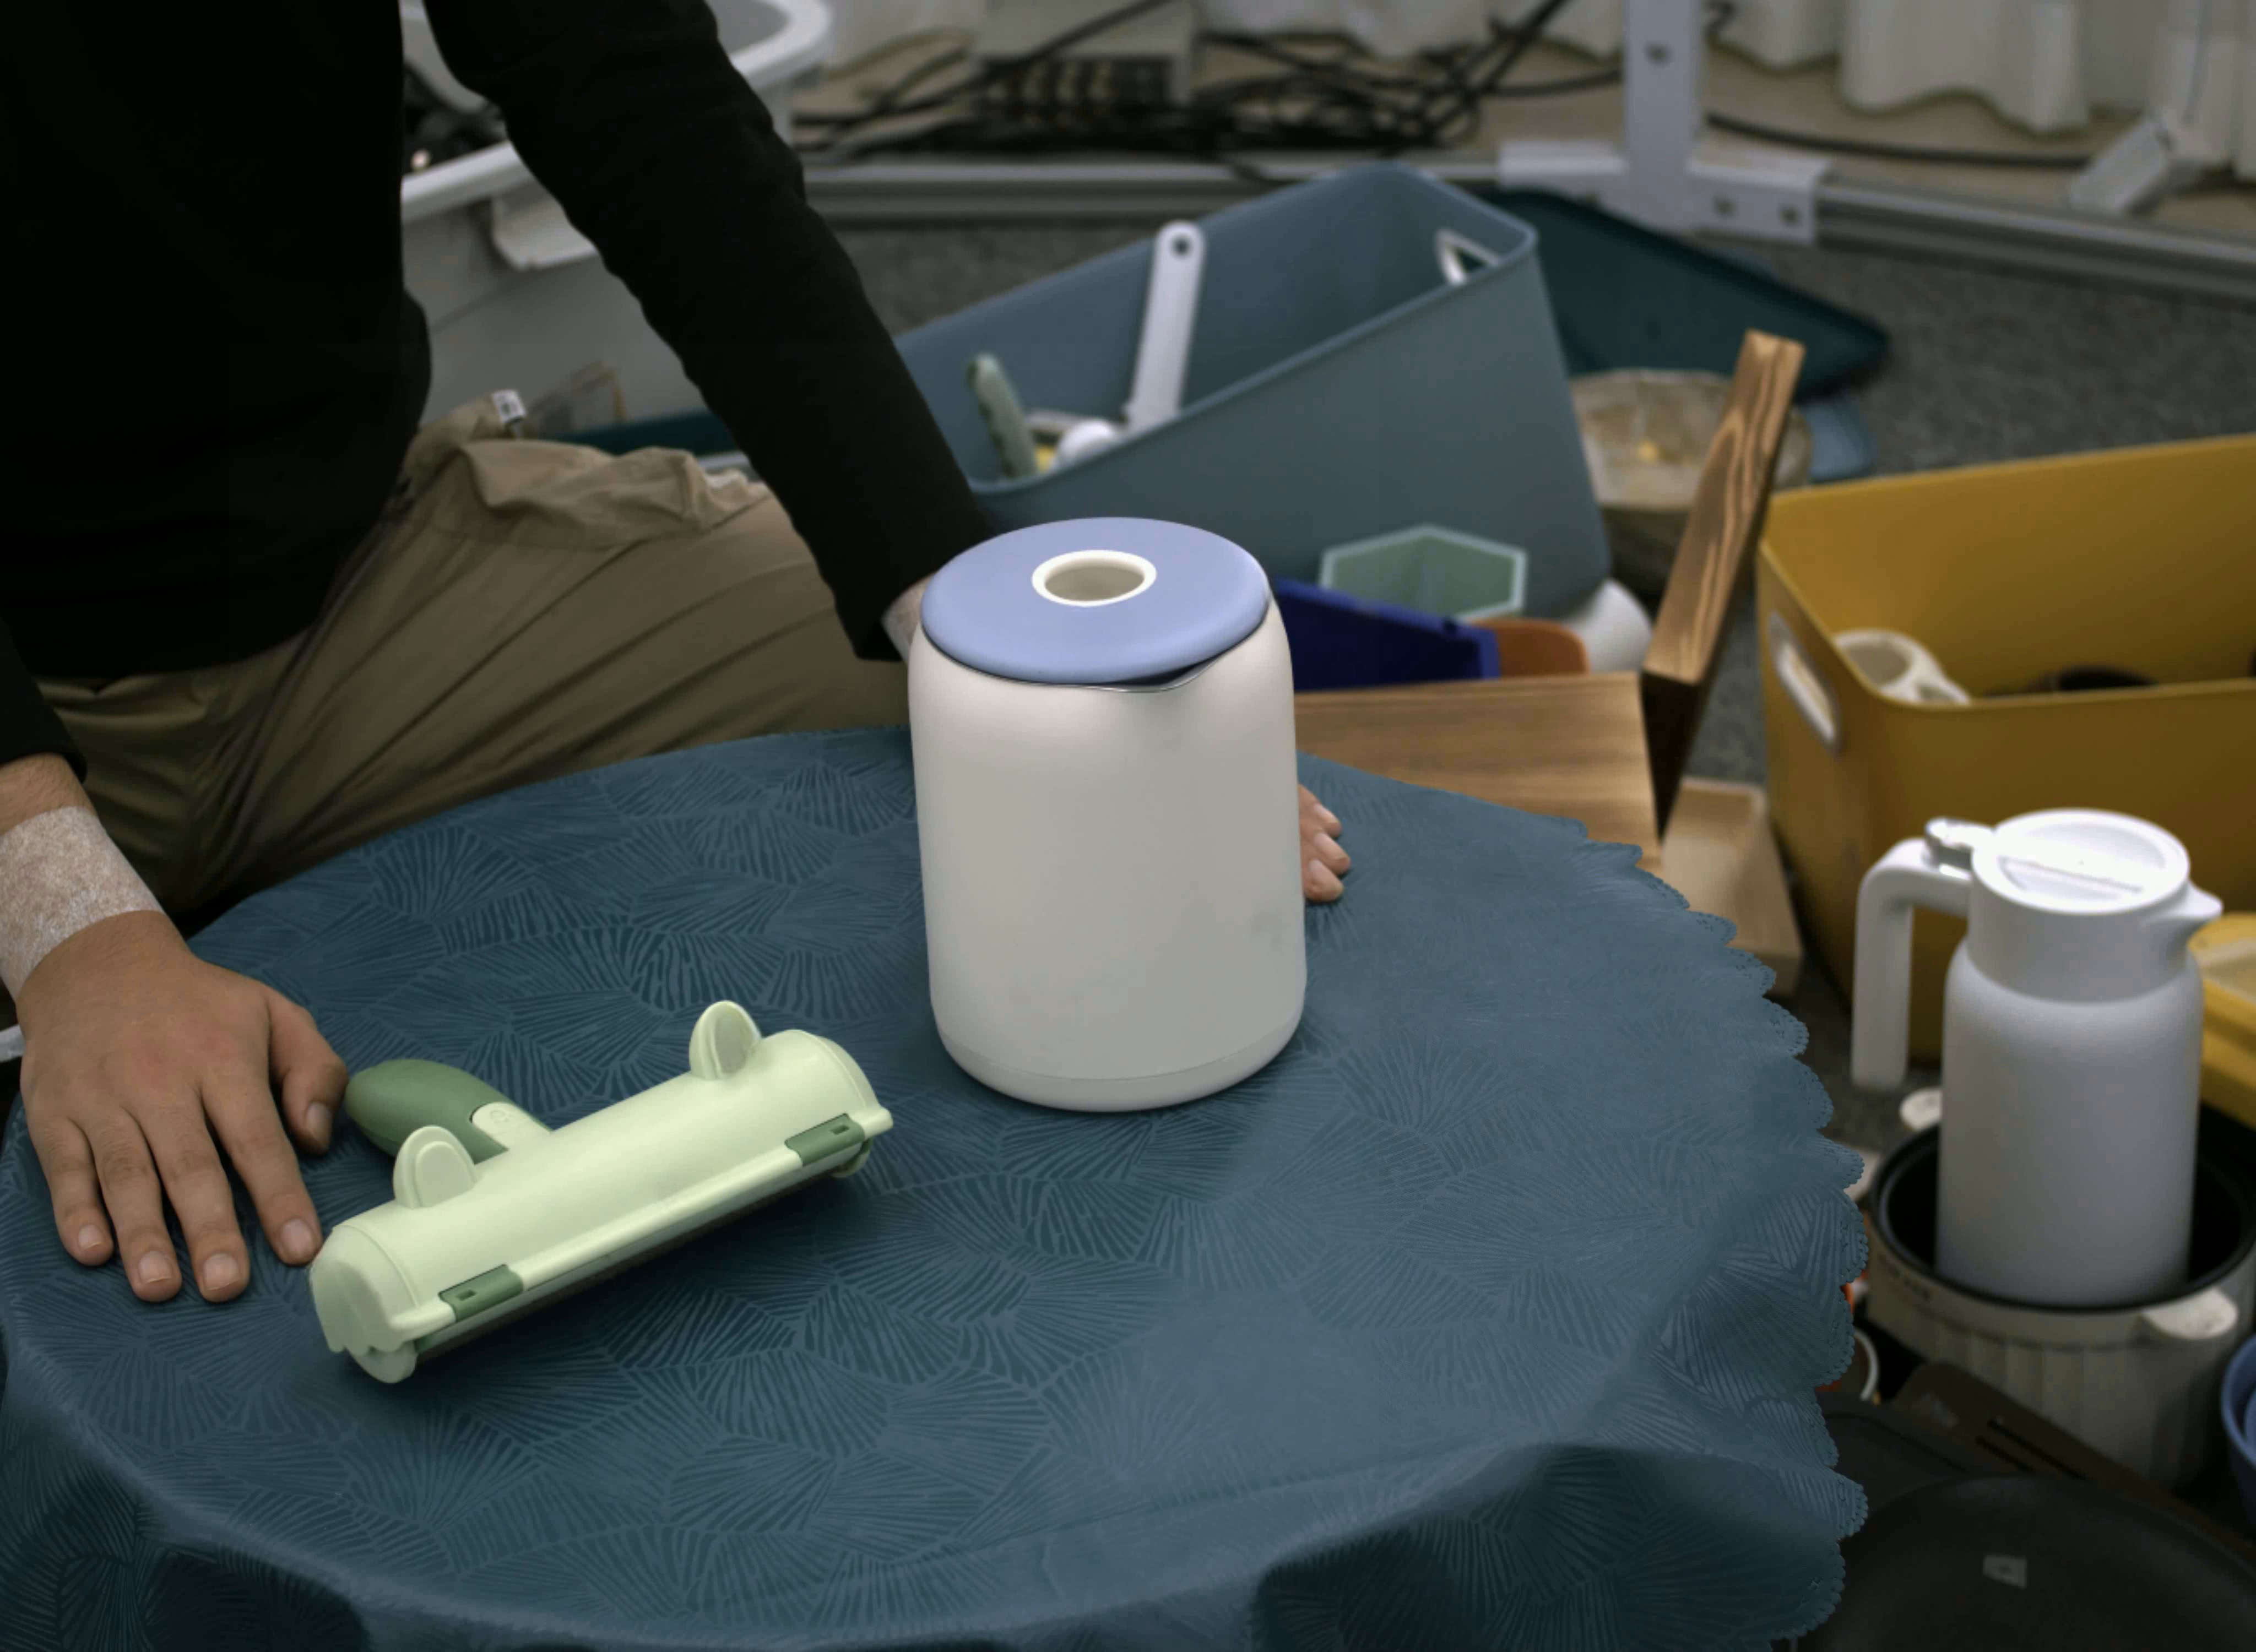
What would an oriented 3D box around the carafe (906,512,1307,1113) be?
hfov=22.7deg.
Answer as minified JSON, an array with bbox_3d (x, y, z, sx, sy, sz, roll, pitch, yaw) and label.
[{"bbox_3d":[-0.016,-0.015,1.942,0.132,0.181,0.192,-12,26,-19],"label":"carafe"}]

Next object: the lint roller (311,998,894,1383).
[{"bbox_3d":[-0.205,0.096,1.849,0.200,0.081,0.183,-22,35,-35],"label":"lint roller"}]
